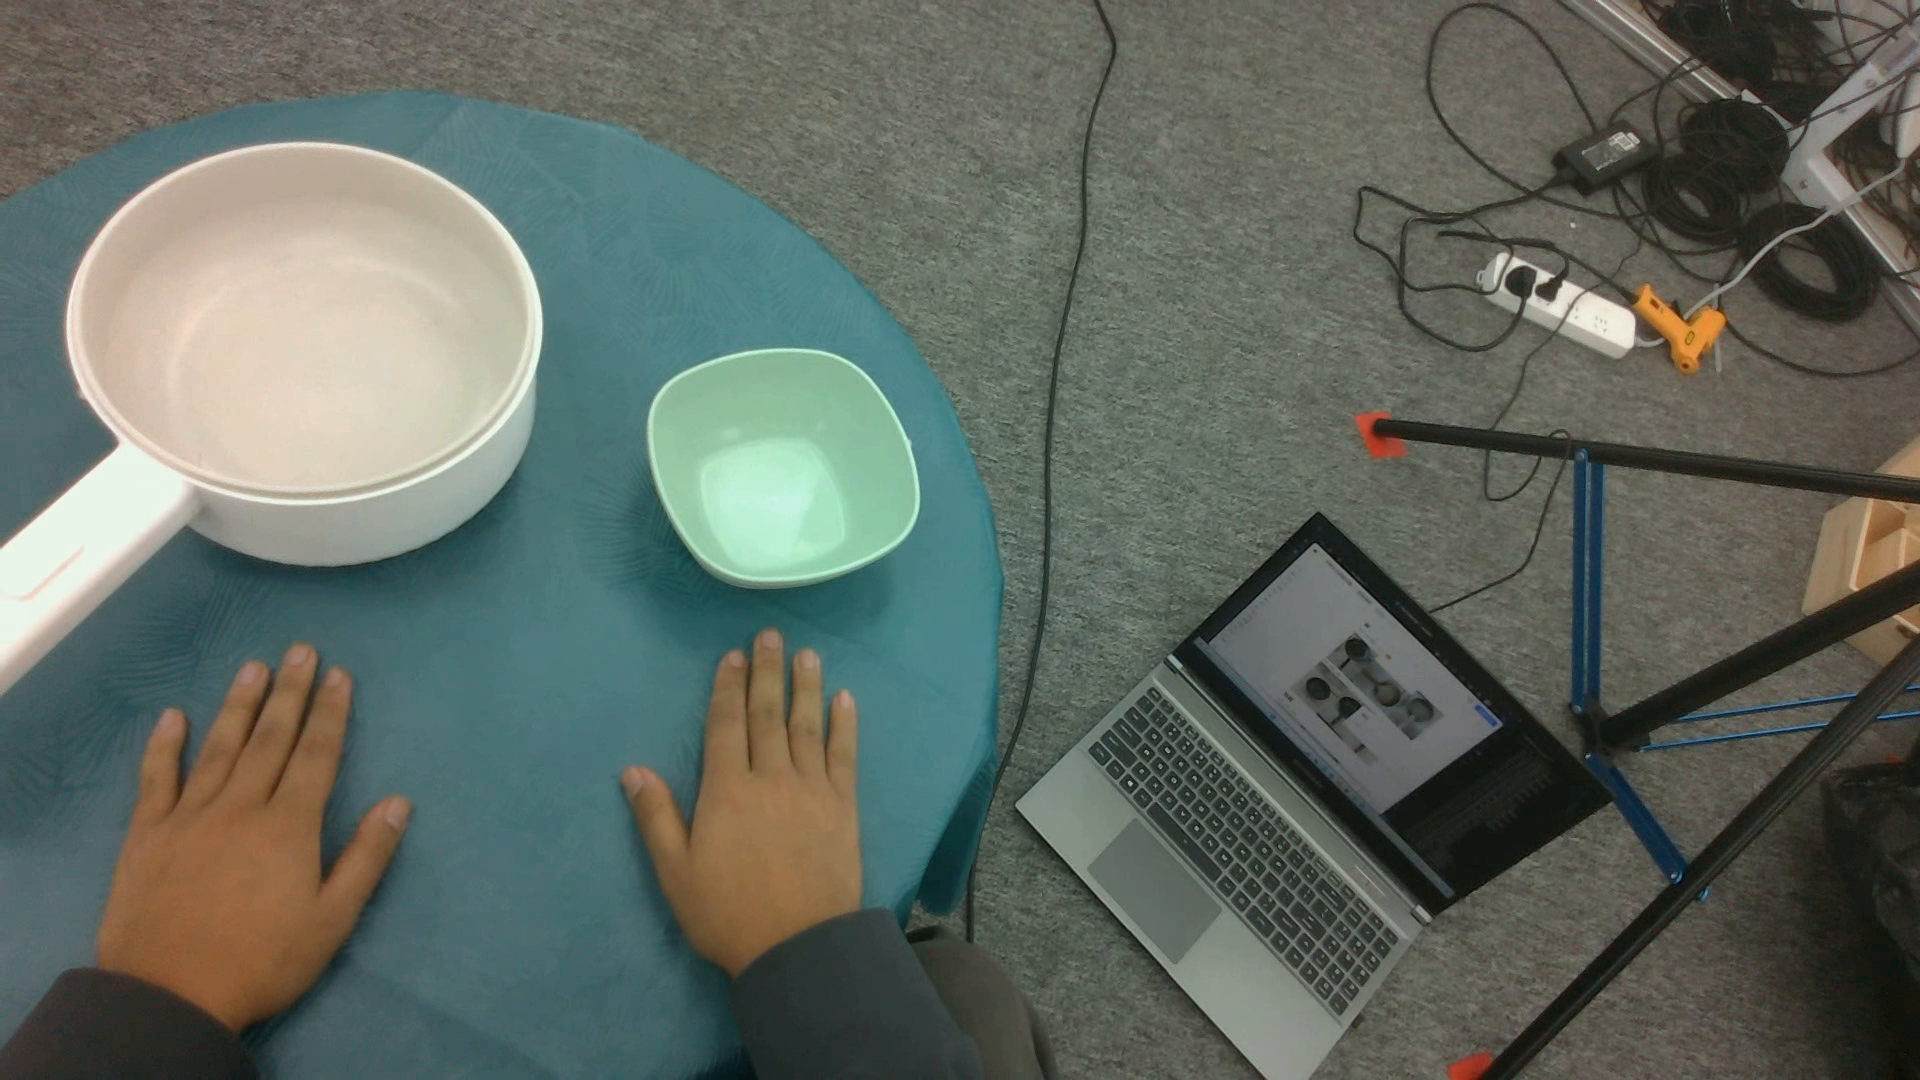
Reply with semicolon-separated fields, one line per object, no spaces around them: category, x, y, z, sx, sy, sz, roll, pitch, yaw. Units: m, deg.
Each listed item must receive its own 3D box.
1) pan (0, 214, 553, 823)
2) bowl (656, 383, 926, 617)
pan;-0.345;0.000;0.667;0.201;0.101;0.356;30;60;0
bowl;-0.096;-0.013;0.763;0.151;0.058;0.152;7;59;-11
